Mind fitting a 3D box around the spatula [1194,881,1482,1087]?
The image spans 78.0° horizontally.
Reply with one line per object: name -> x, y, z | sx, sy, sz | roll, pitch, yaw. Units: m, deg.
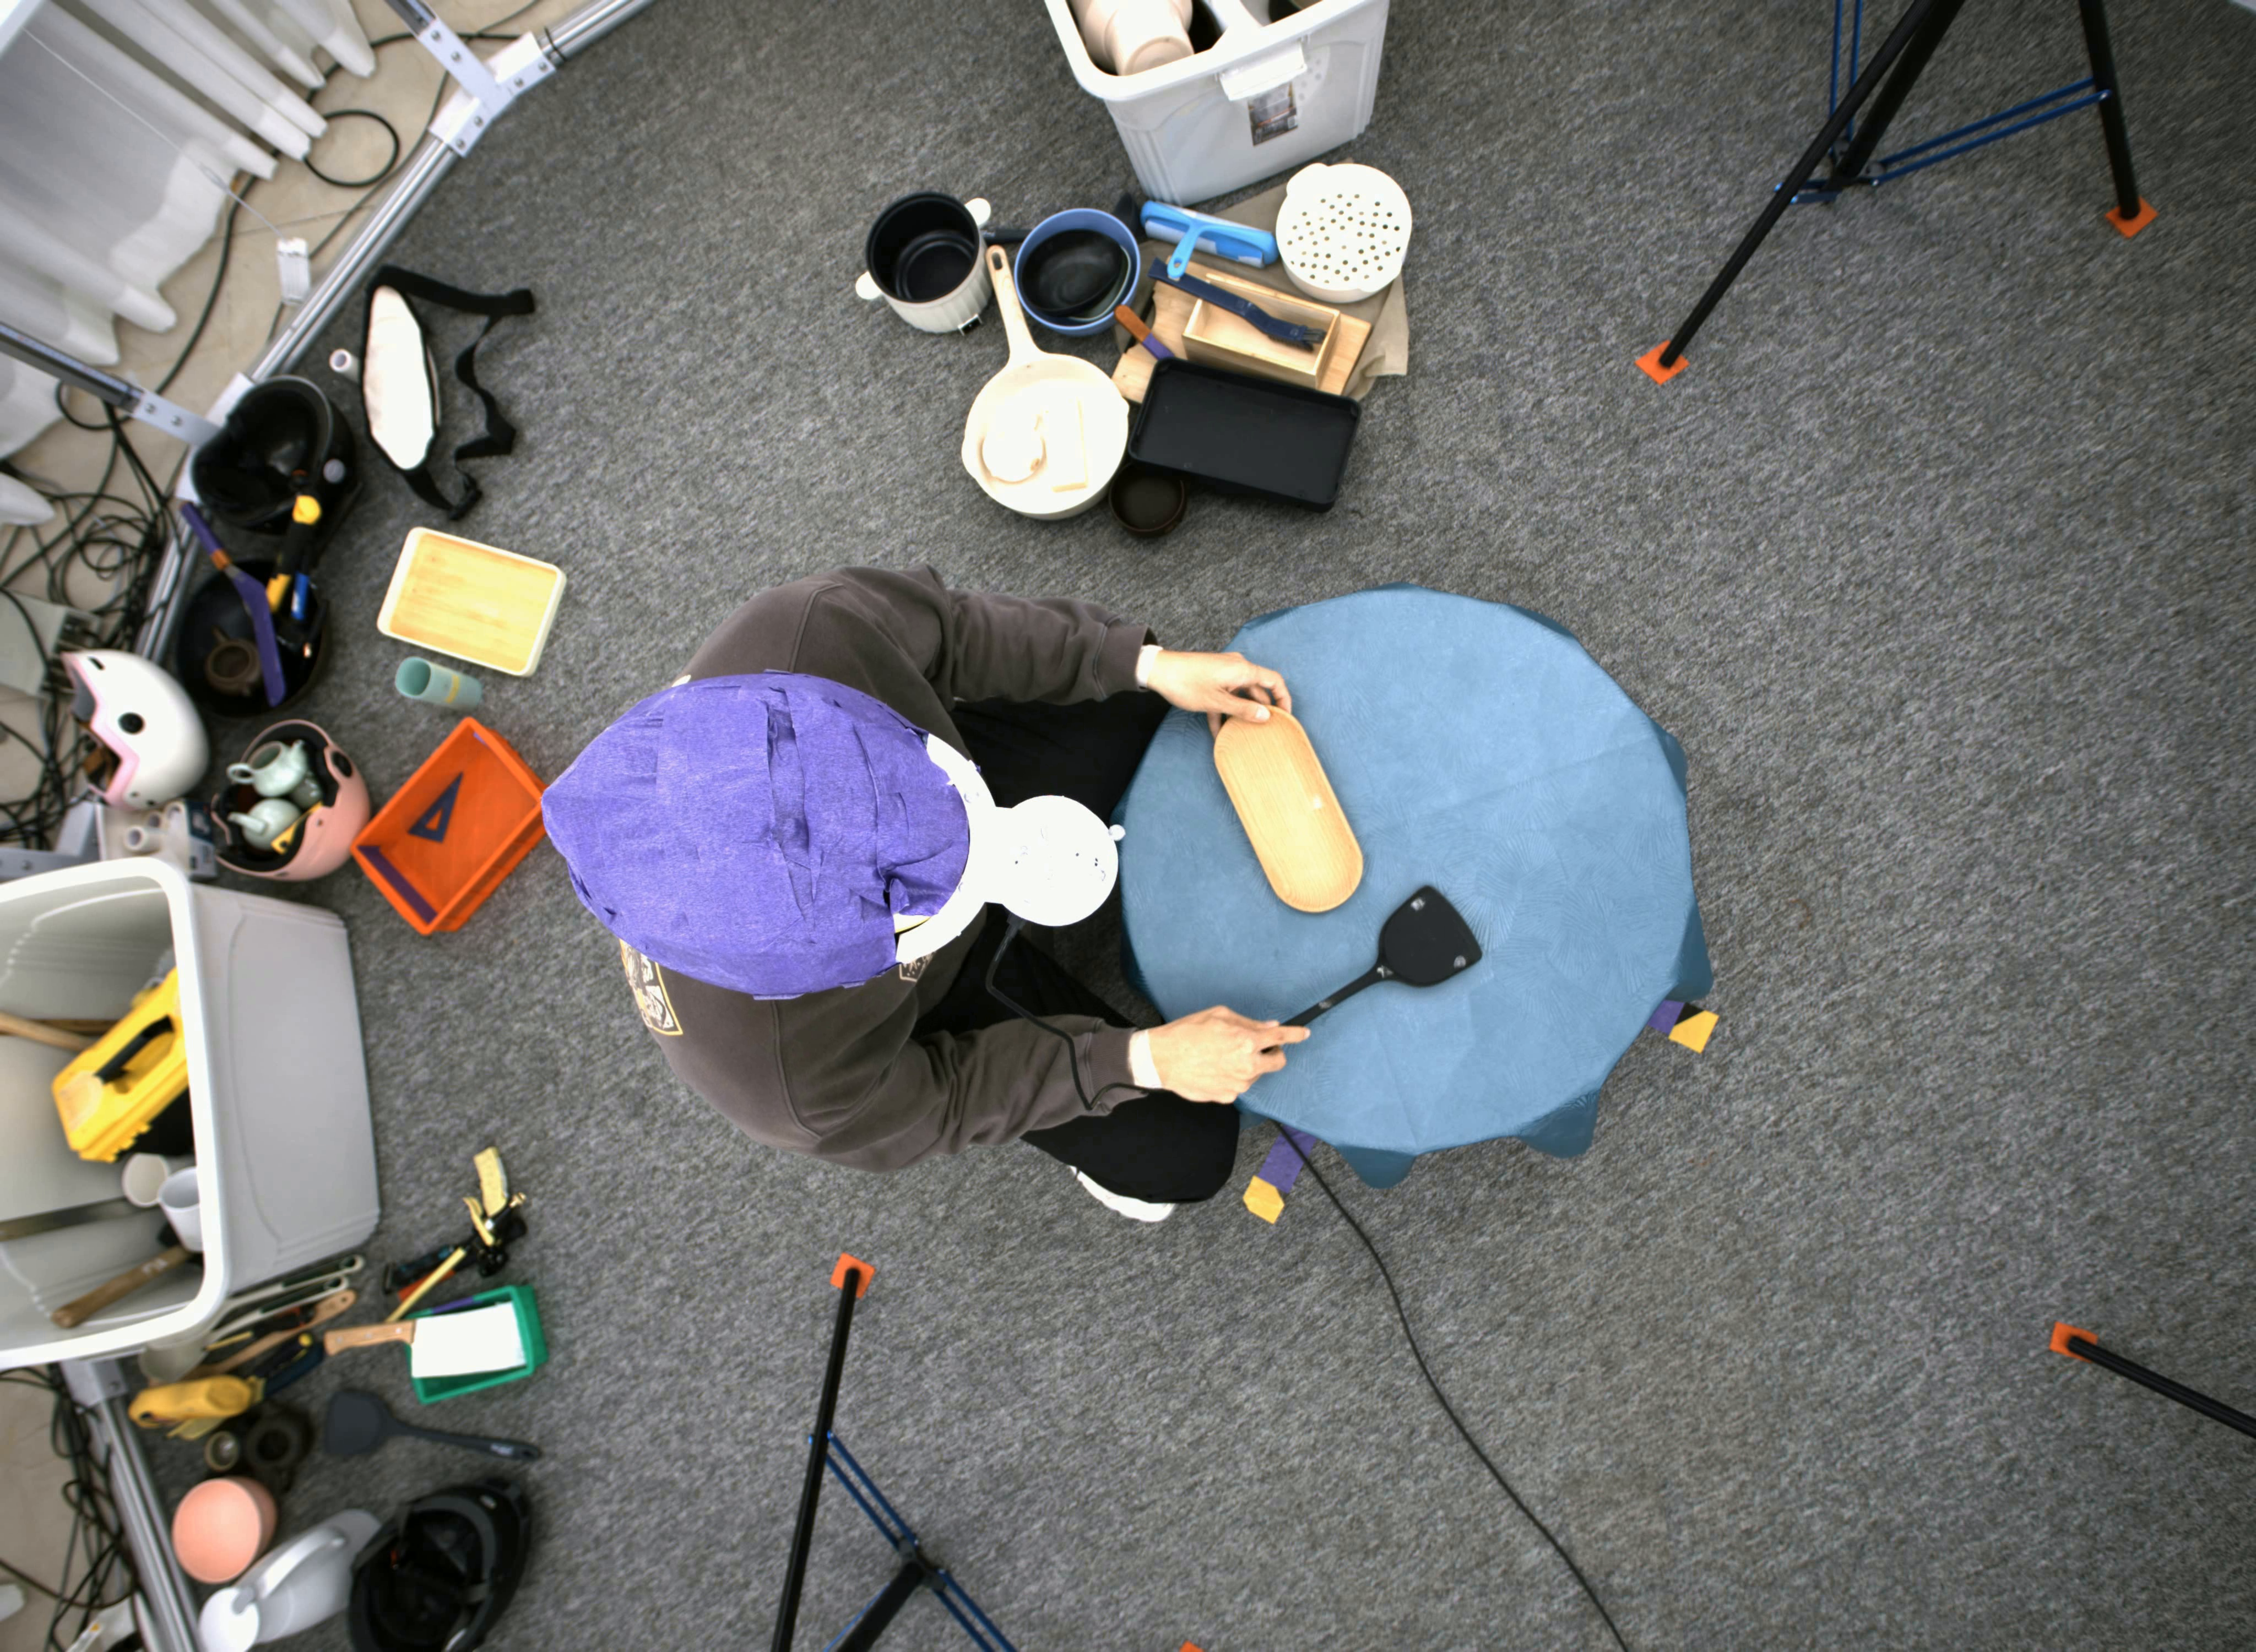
spatula -> 0.206, 0.174, 1.416 | 0.324, 0.041, 0.098 | -30, 69, -9

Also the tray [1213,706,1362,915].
tray -> 0.168, -0.017, 1.460 | 0.102, 0.020, 0.231 | -25, 91, 12
